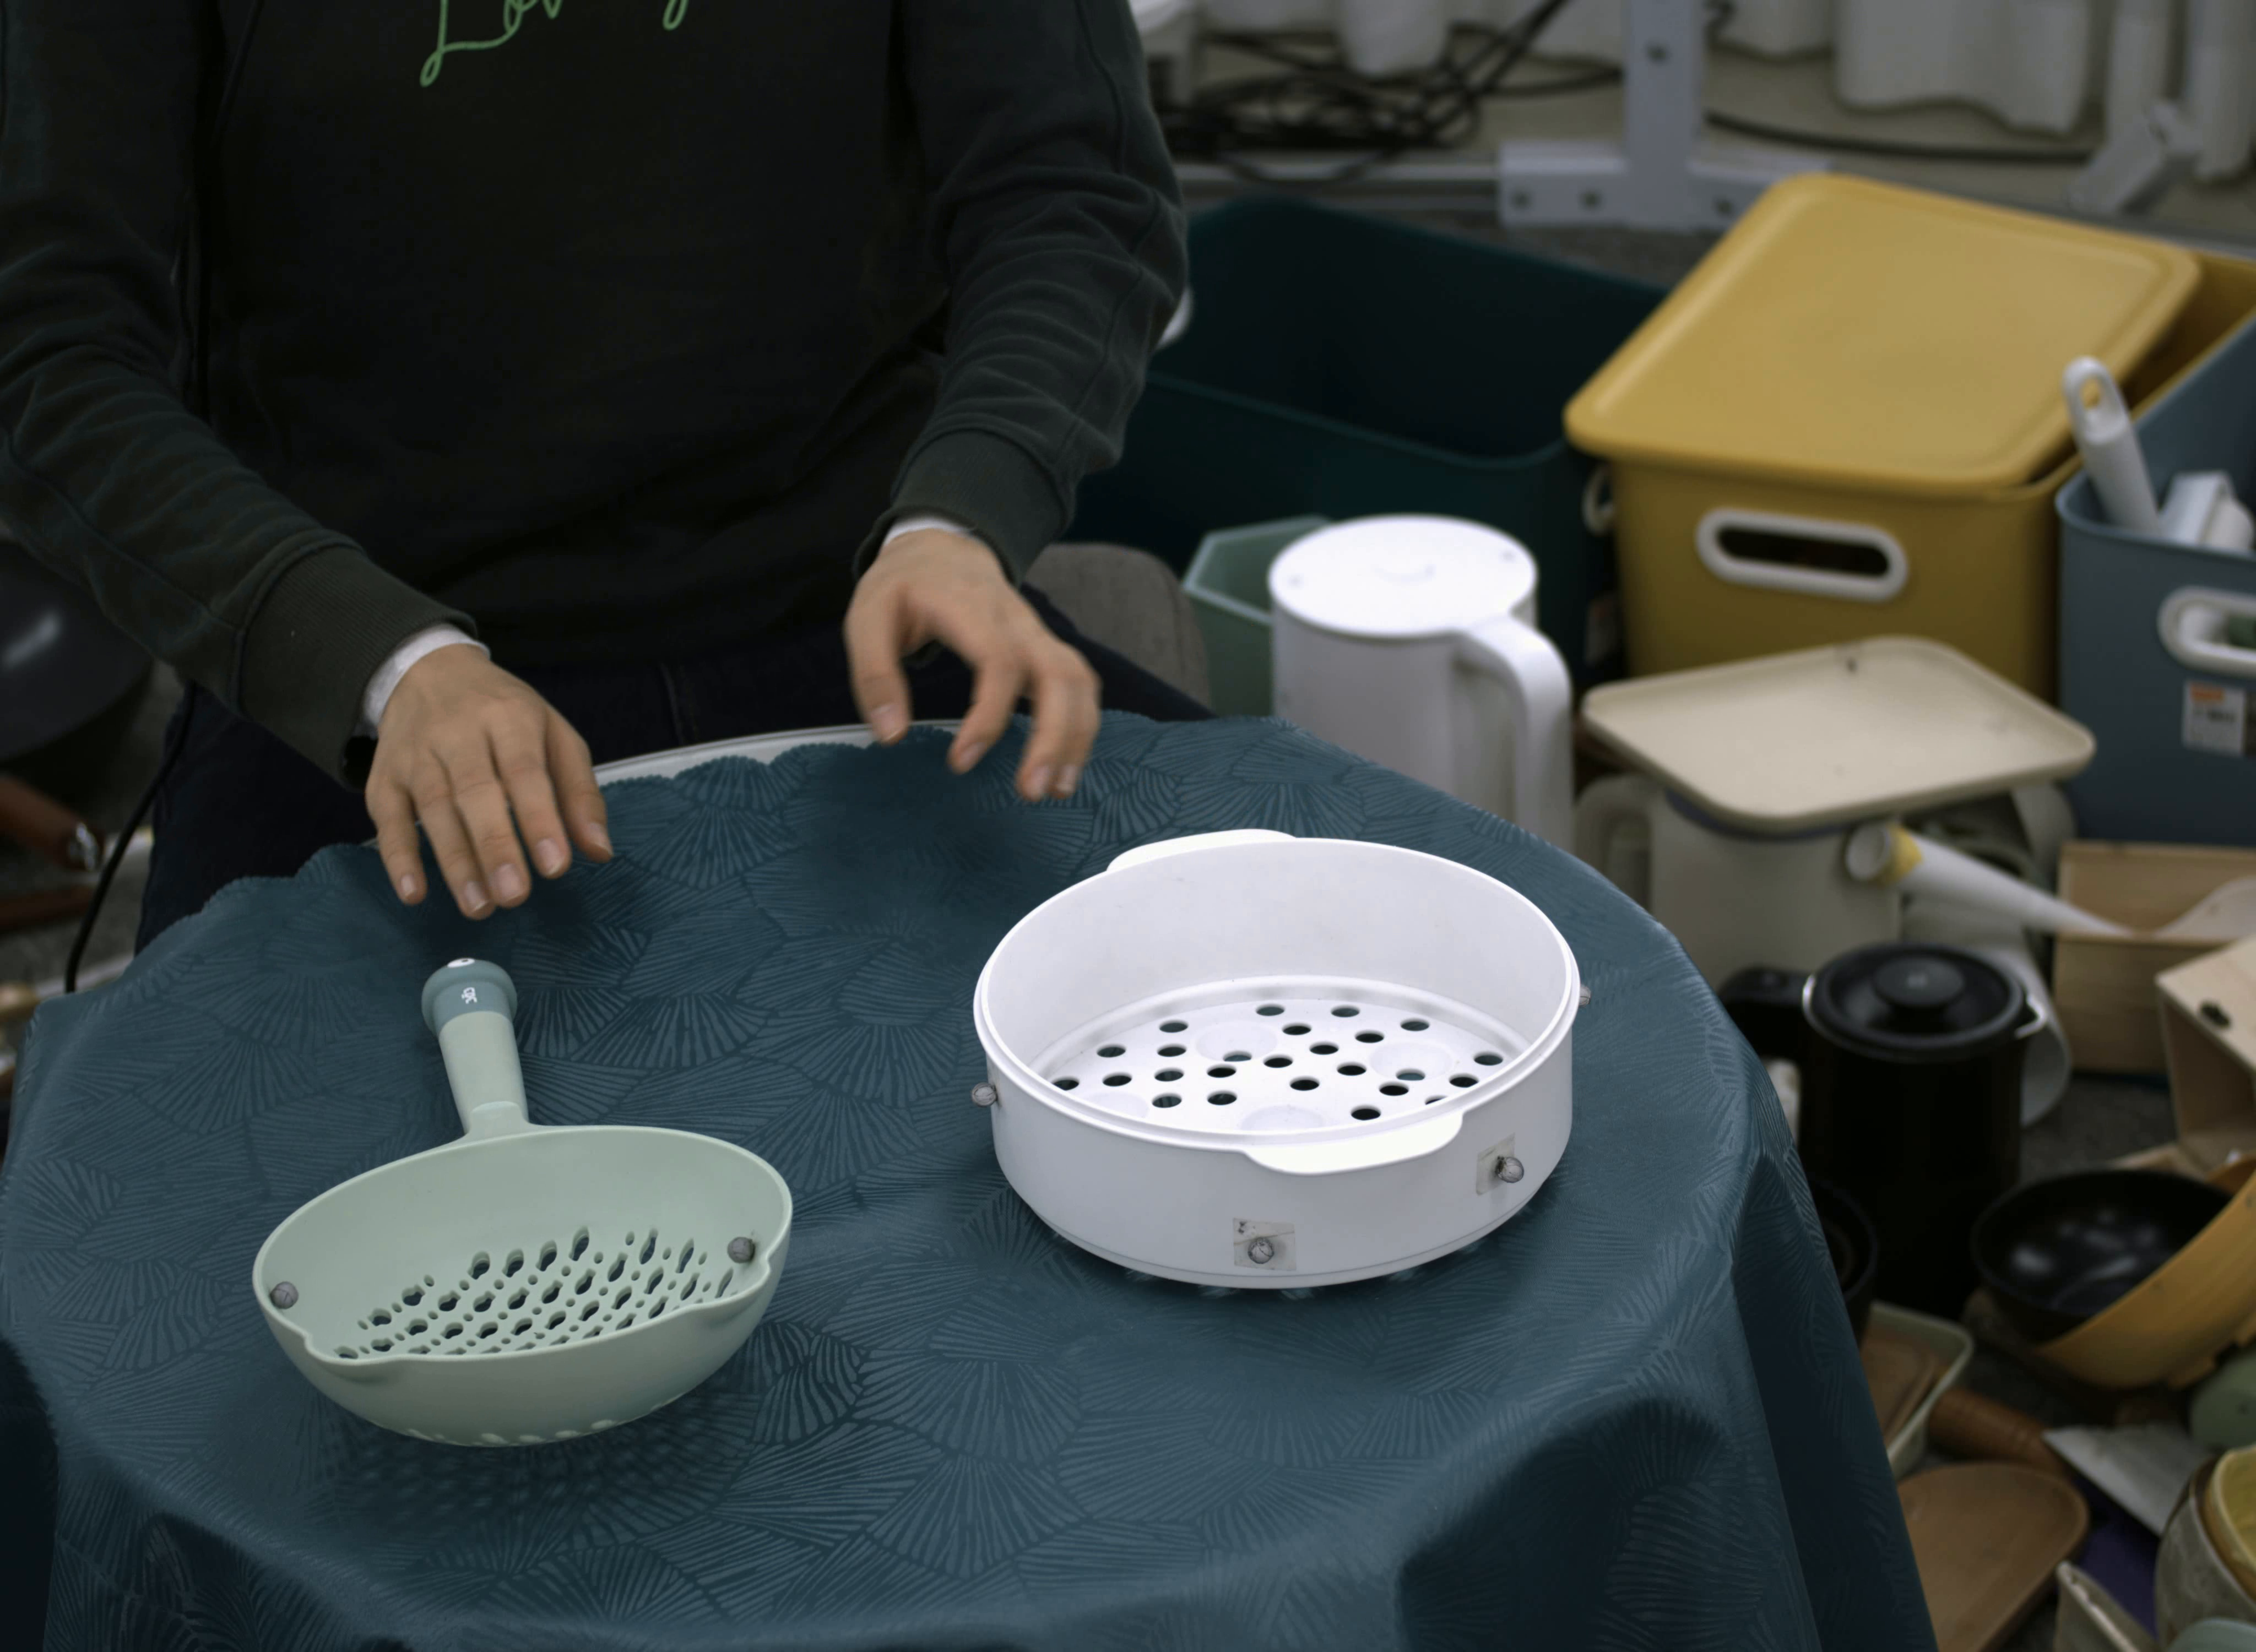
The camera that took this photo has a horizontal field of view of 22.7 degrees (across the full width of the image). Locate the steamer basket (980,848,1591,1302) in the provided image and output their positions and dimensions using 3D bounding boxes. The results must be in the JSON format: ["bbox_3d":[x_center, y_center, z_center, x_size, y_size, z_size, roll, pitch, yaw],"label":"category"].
[{"bbox_3d":[0.053,0.084,1.861,0.202,0.068,0.233,-8,27,-12],"label":"steamer basket"}]

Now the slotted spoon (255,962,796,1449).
[{"bbox_3d":[-0.203,0.108,1.838,0.169,0.074,0.363,-8,28,-8],"label":"slotted spoon"}]
